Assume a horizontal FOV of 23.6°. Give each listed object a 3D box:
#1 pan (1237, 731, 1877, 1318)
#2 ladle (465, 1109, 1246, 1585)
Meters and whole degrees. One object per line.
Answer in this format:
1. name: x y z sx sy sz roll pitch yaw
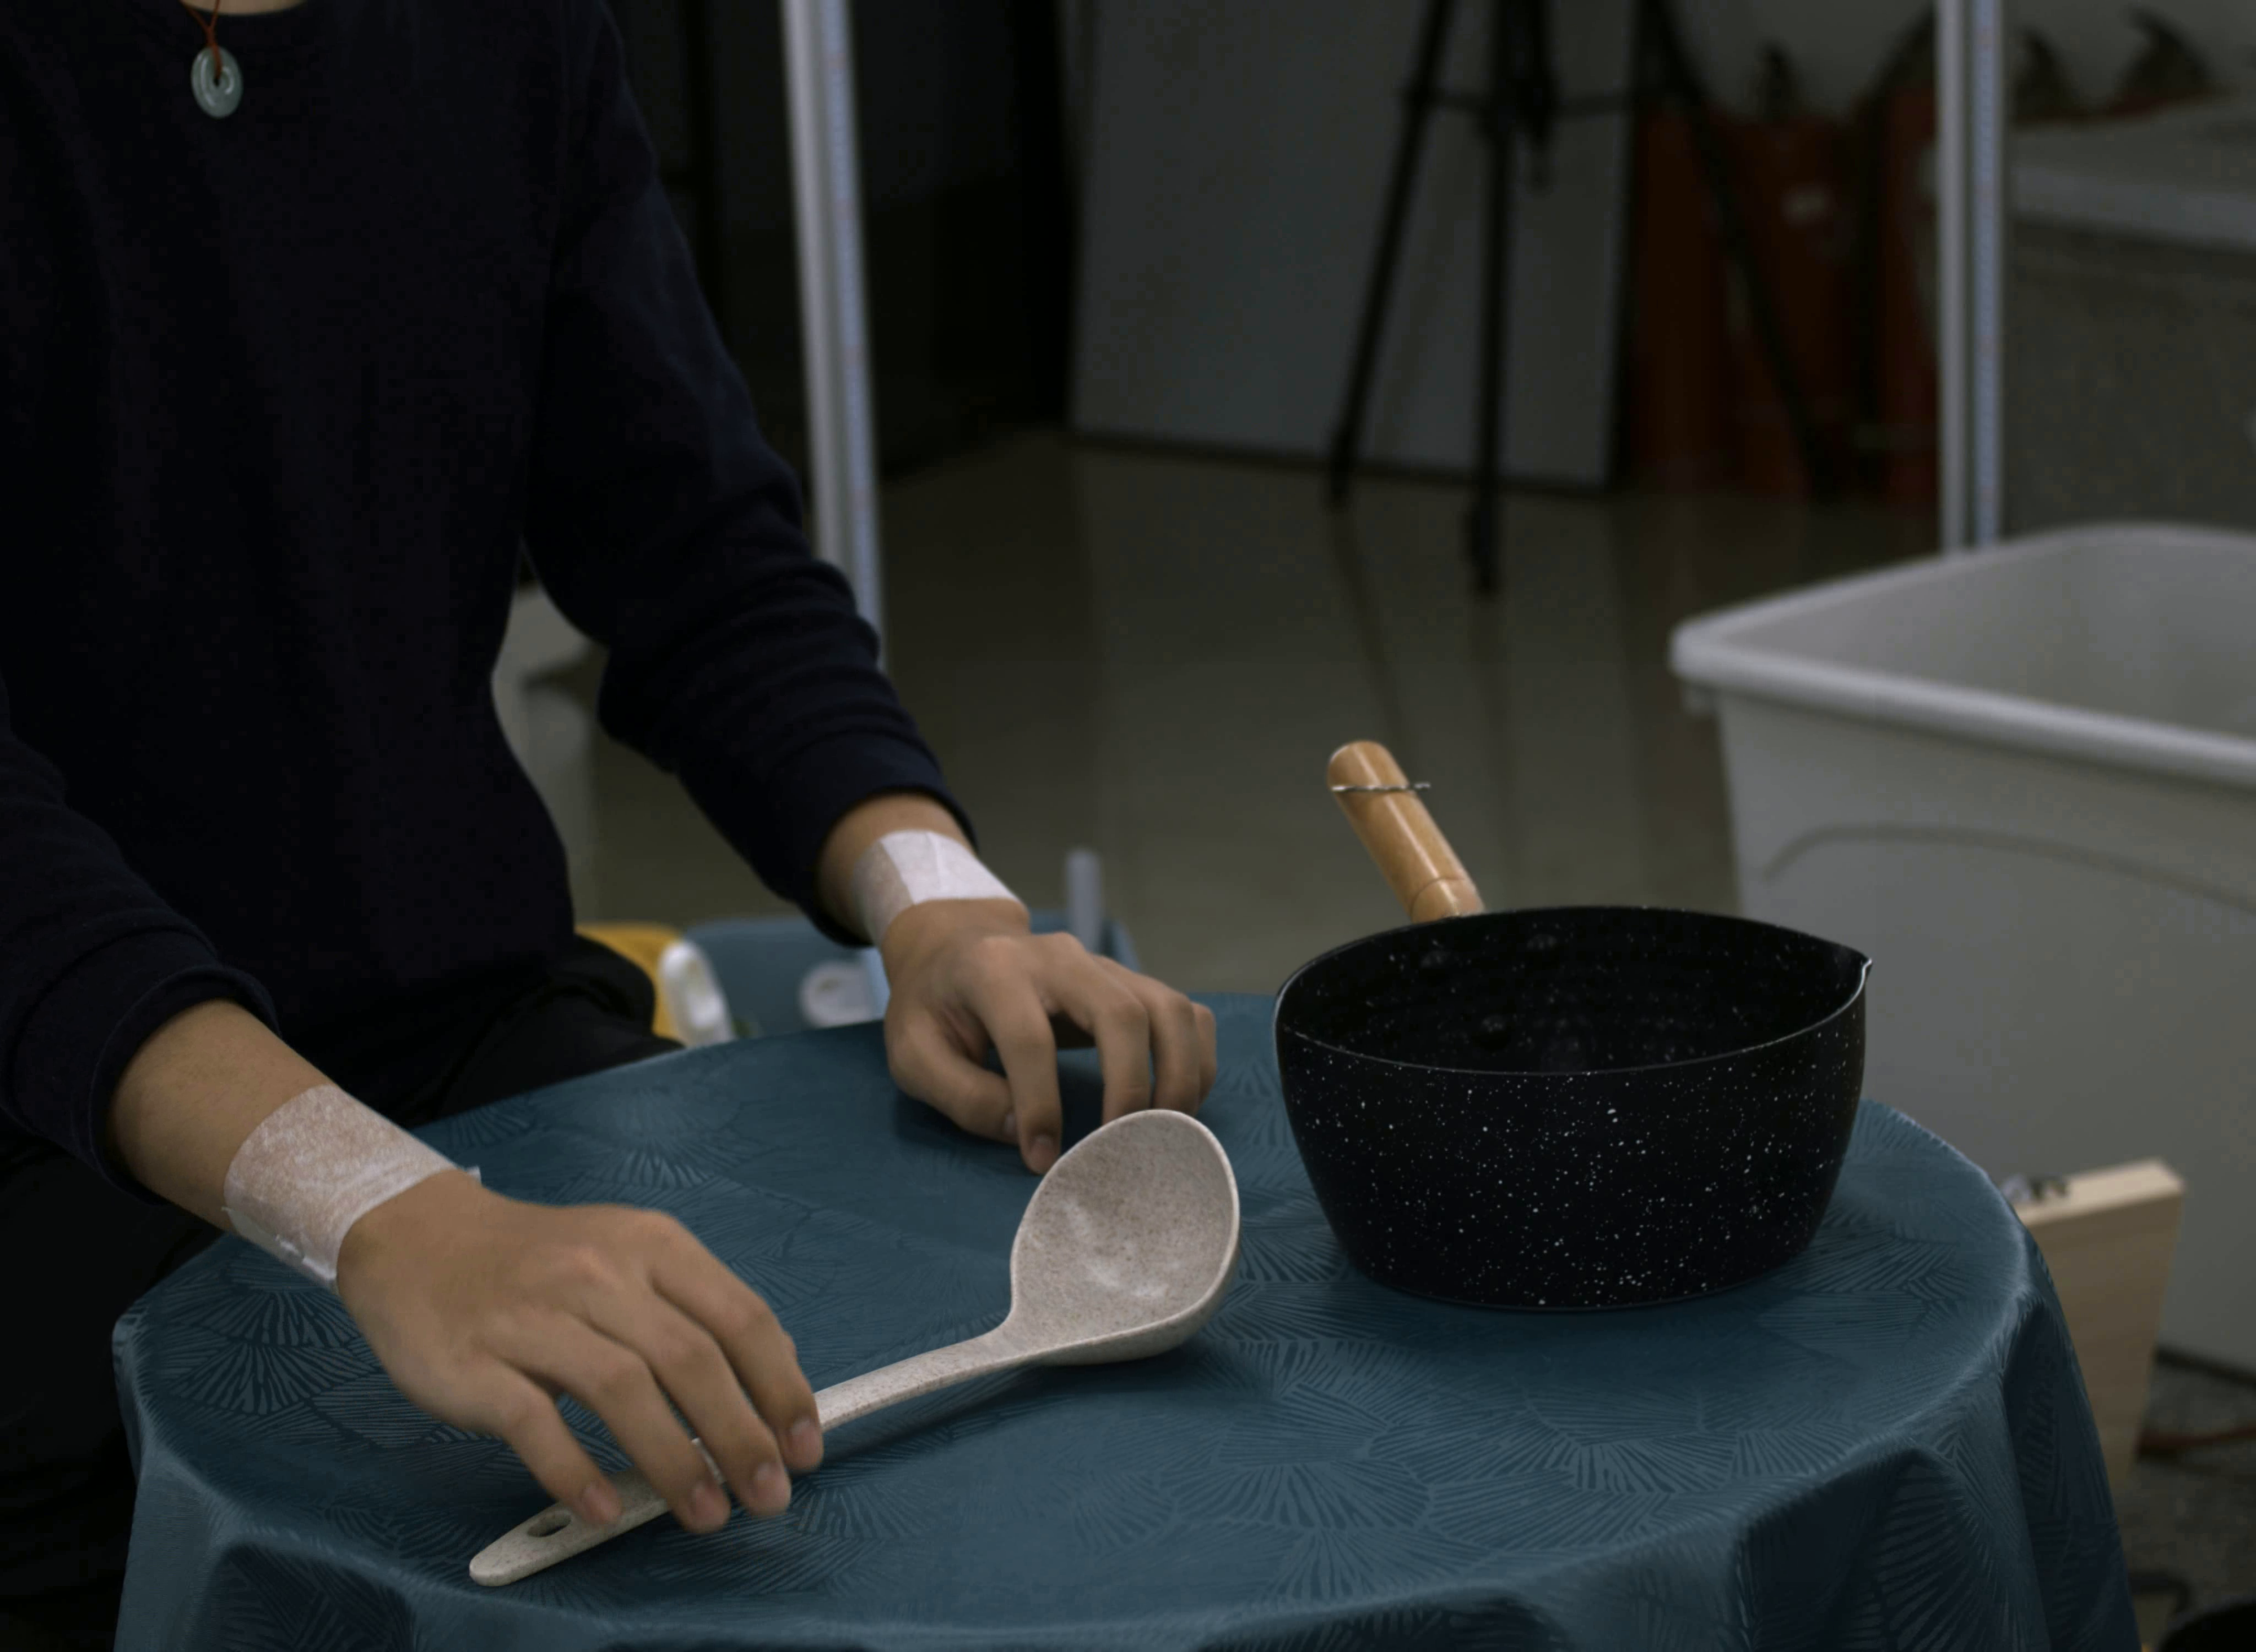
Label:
1. pan: 0.120 0.059 1.758 0.204 0.109 0.345 -8 16 -12
2. ladle: -0.078 0.145 1.547 0.269 0.070 0.090 -15 23 -40
